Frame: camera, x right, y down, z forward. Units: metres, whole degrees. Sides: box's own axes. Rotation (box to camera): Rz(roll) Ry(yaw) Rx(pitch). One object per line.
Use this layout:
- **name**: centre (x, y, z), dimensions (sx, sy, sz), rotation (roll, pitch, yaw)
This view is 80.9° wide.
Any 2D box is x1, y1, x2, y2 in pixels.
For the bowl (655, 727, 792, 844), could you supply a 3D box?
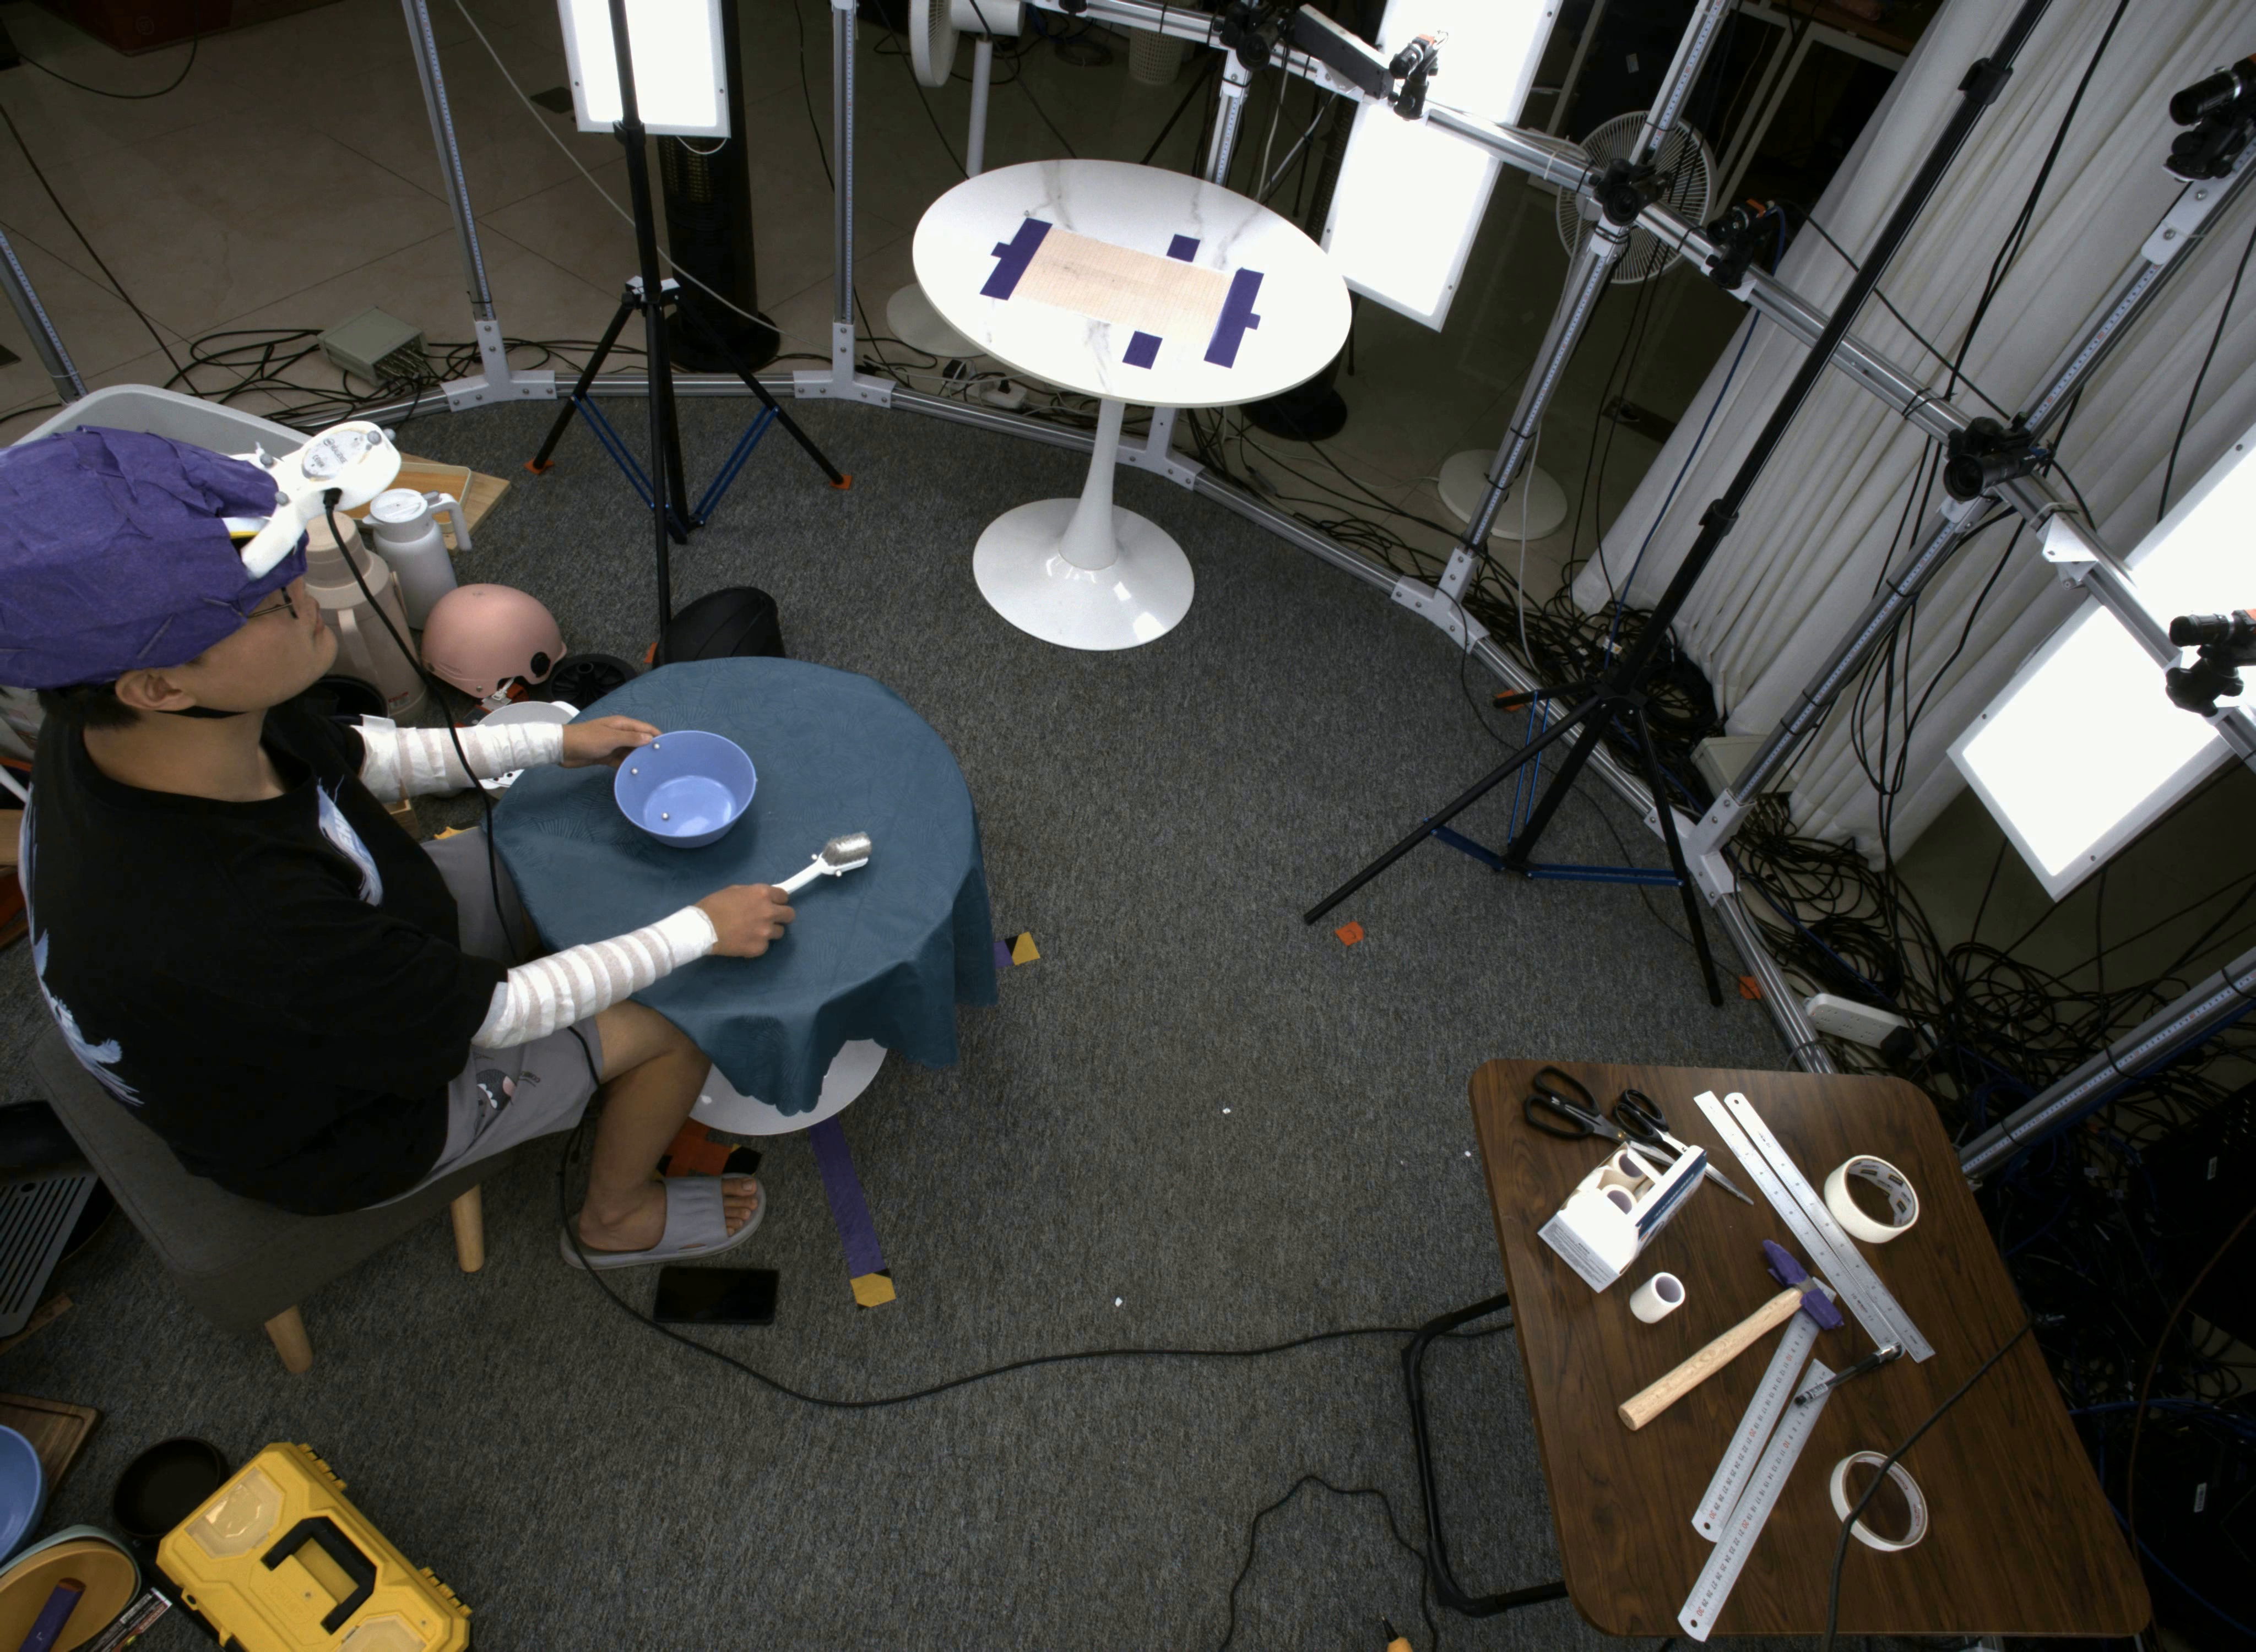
- **bowl**: centre (-0.528, -0.044, 1.695), dimensions (0.175, 0.072, 0.173), rotation (7, 52, -7)

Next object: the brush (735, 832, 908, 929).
- **brush**: centre (-0.389, 0.064, 1.651), dimensions (0.245, 0.051, 0.033), rotation (-25, 61, -35)
